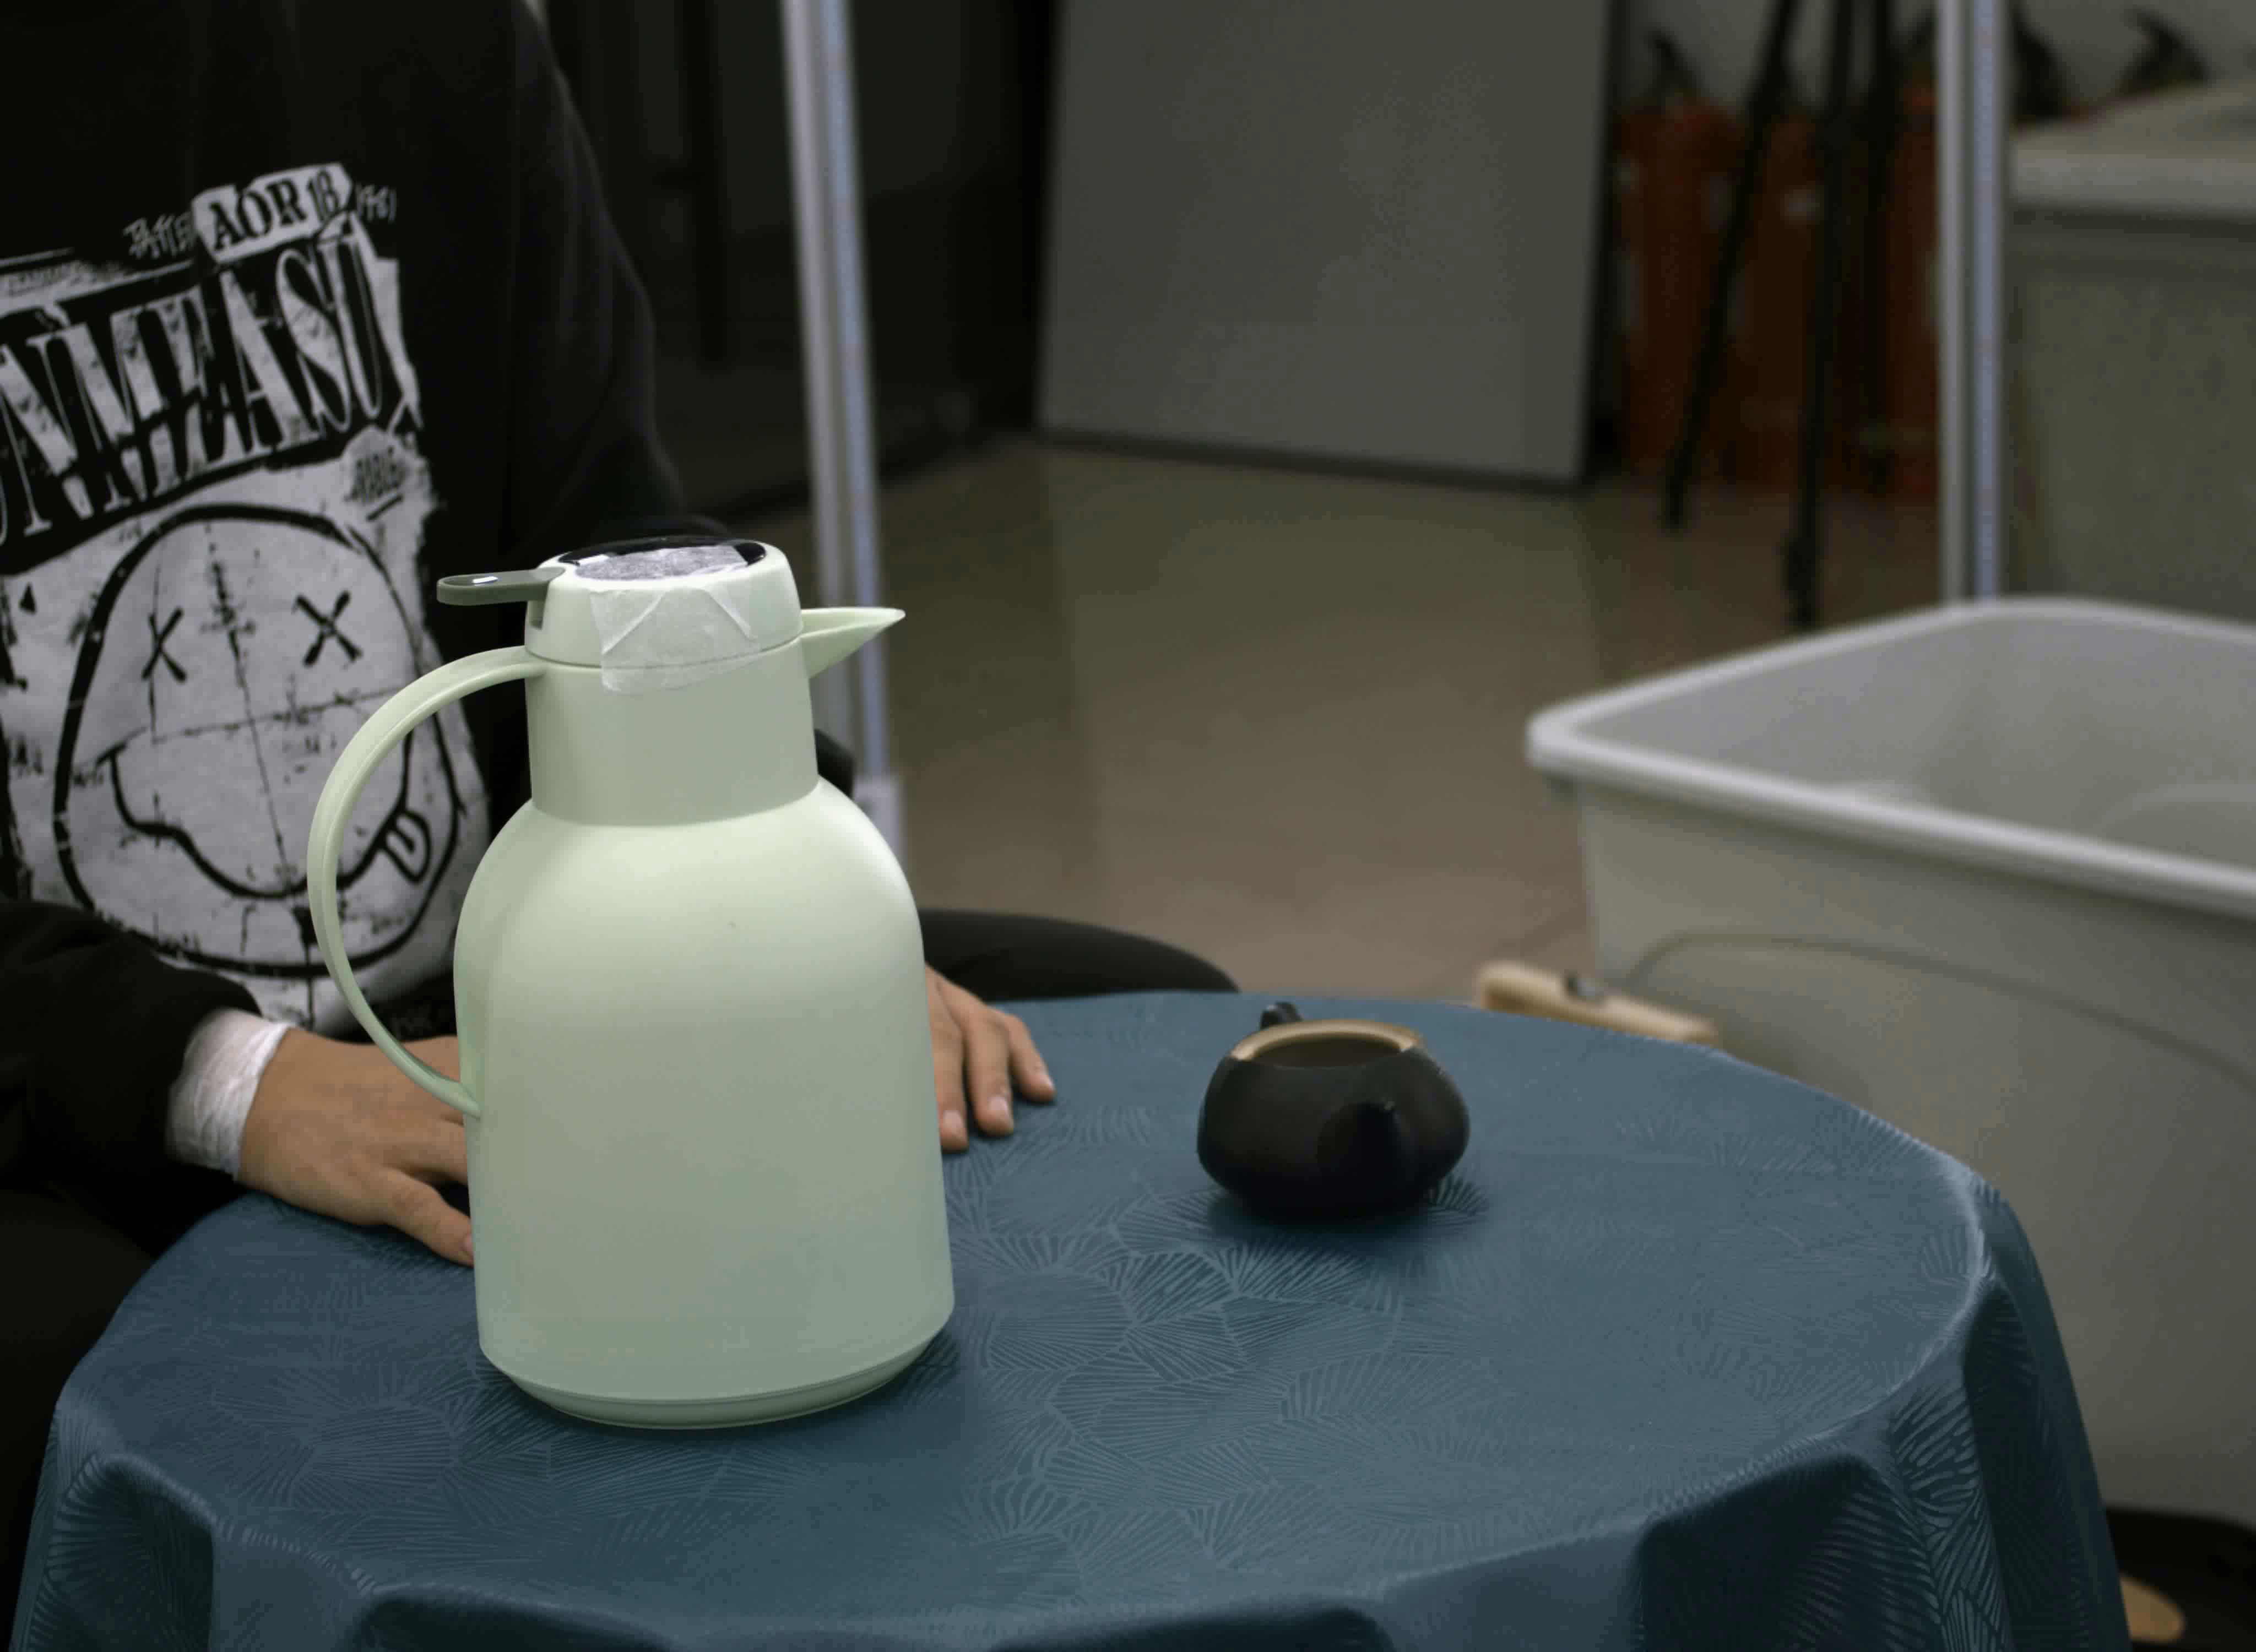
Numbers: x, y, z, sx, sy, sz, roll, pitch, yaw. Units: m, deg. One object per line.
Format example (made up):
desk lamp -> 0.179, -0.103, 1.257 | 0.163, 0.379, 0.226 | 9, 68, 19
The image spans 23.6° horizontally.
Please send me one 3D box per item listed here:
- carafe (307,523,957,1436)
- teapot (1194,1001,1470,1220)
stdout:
carafe -> -0.144, 0.044, 1.608 | 0.183, 0.259, 0.145 | -11, 16, -16
teapot -> 0.066, 0.095, 1.748 | 0.089, 0.053, 0.134 | -6, 14, -13
